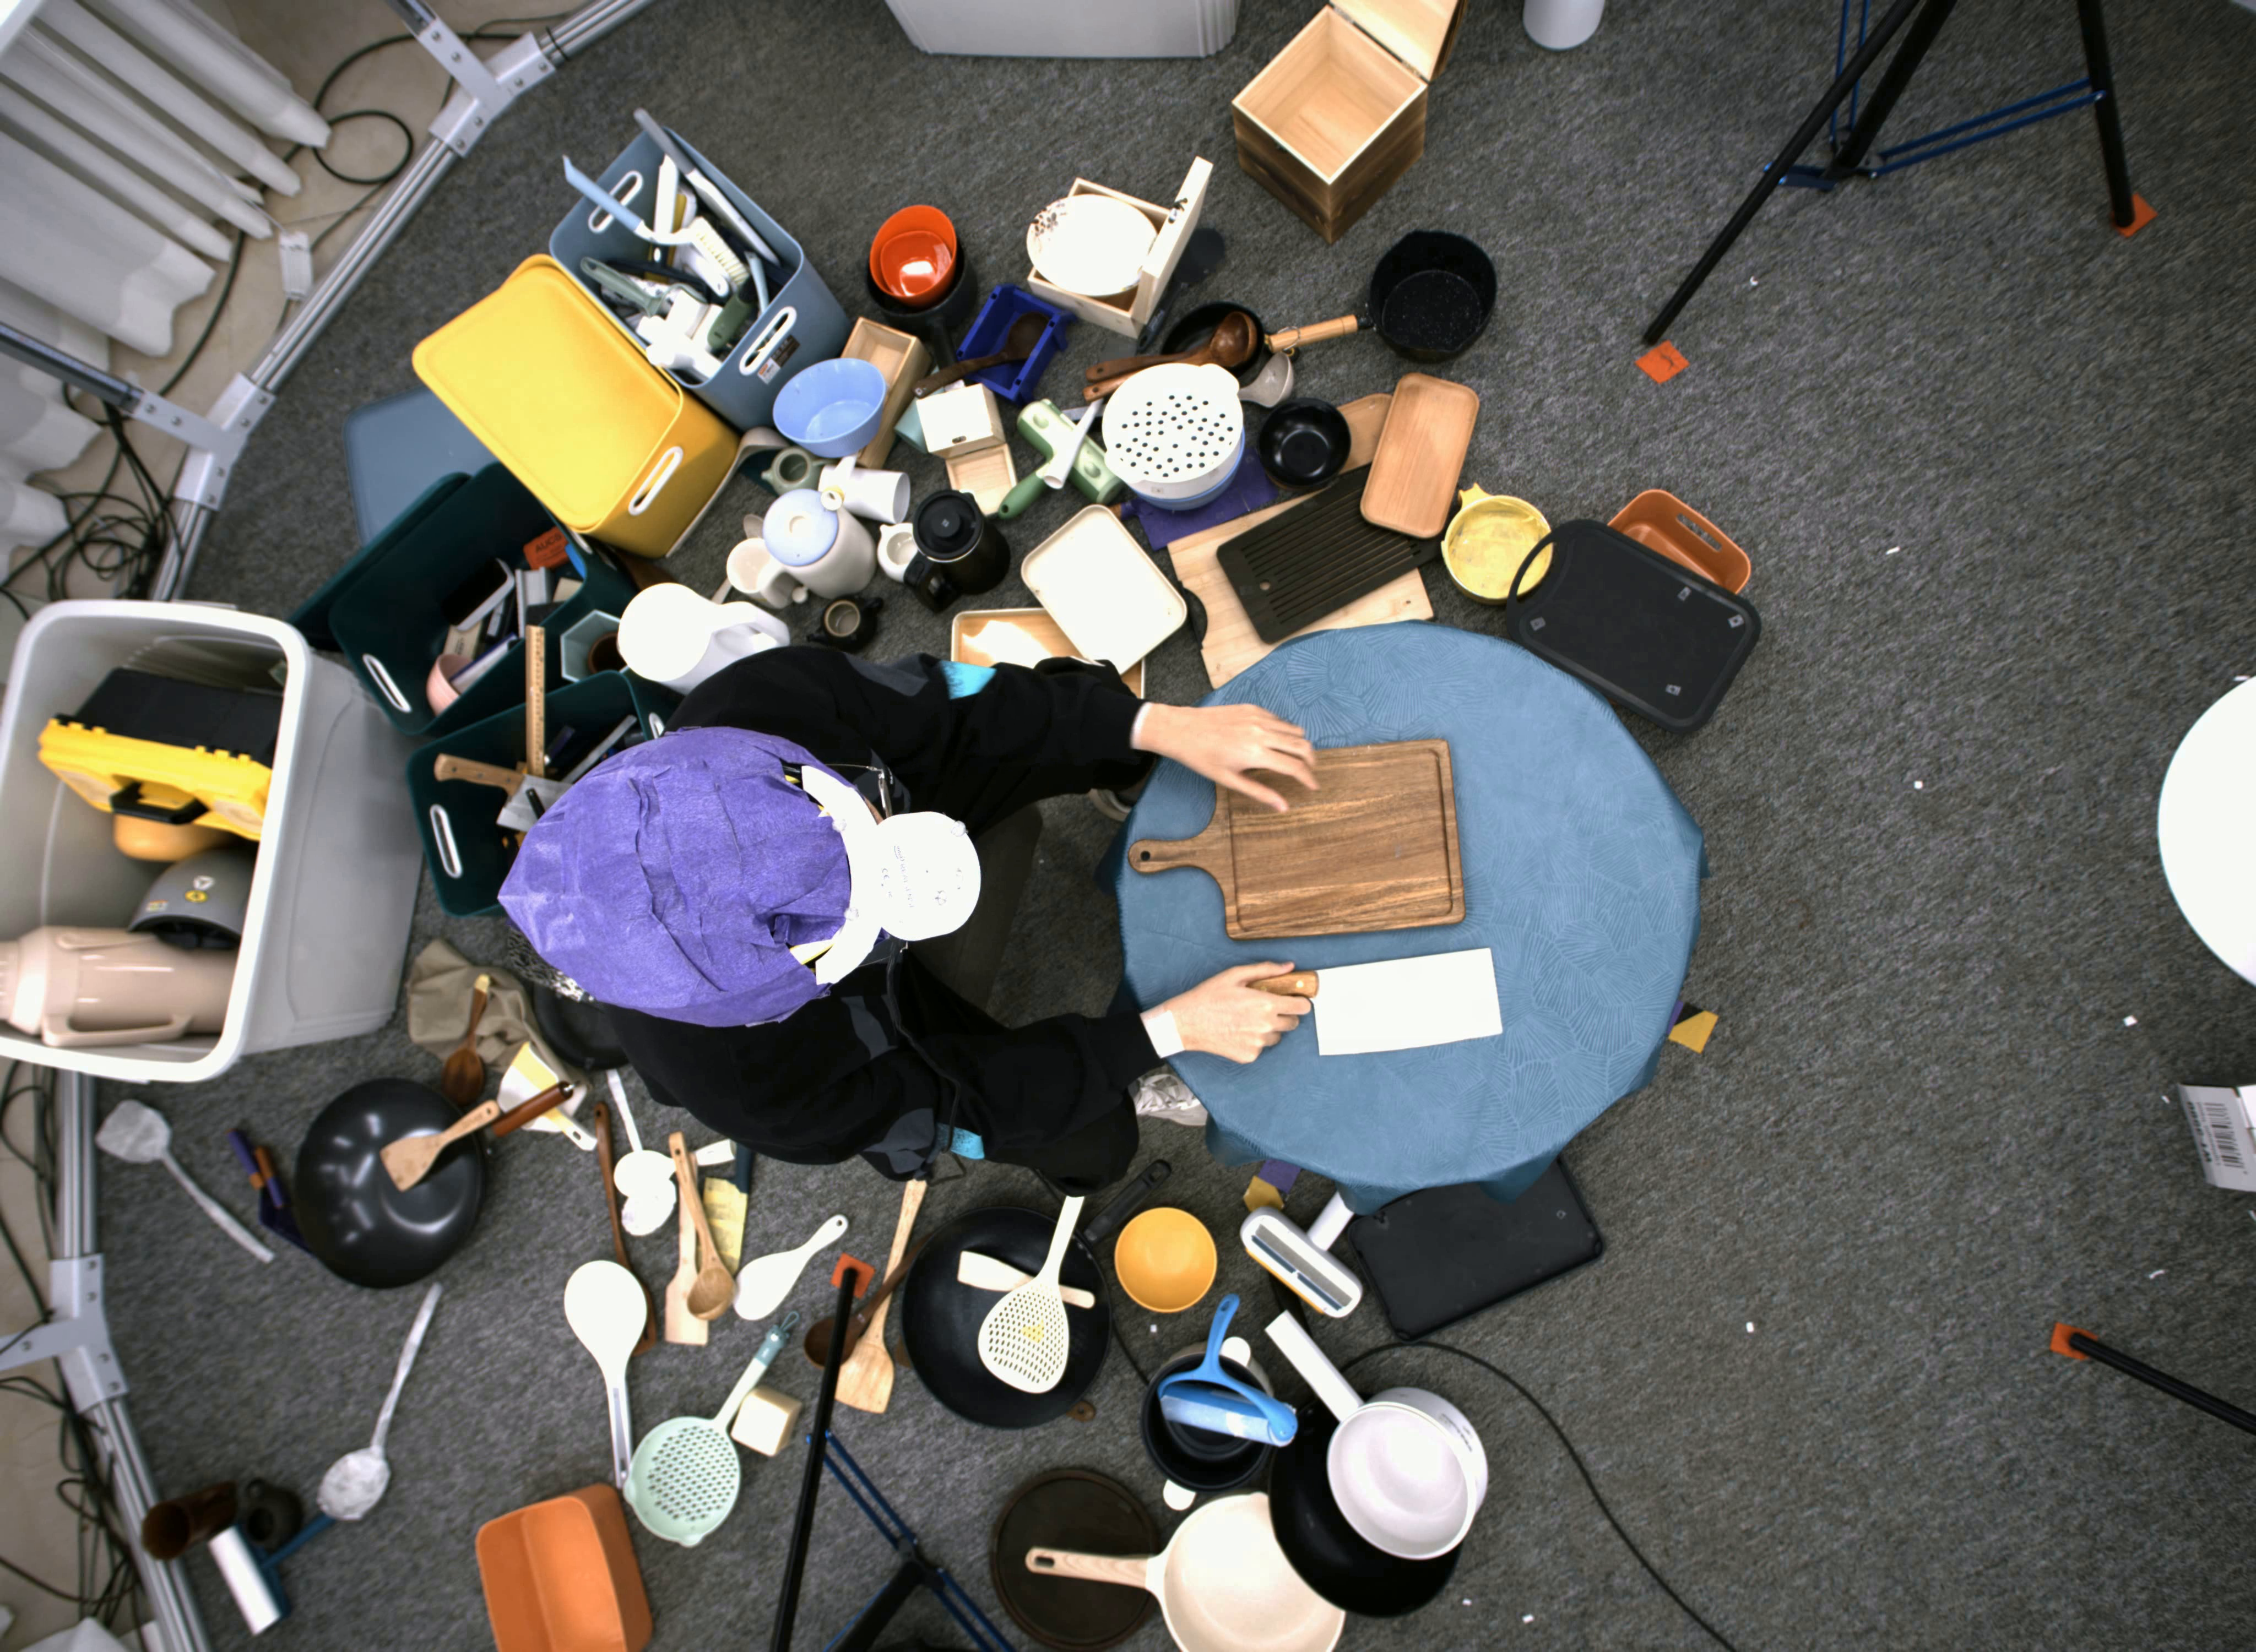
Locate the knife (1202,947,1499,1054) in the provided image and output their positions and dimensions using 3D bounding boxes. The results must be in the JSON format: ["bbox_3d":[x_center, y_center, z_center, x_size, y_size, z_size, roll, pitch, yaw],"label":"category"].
[{"bbox_3d":[0.233,0.189,1.453,0.307,0.021,0.093,-8,90,9],"label":"knife"}]

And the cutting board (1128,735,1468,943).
[{"bbox_3d":[0.174,0.019,1.470,0.354,0.023,0.200,-6,86,10],"label":"cutting board"}]
